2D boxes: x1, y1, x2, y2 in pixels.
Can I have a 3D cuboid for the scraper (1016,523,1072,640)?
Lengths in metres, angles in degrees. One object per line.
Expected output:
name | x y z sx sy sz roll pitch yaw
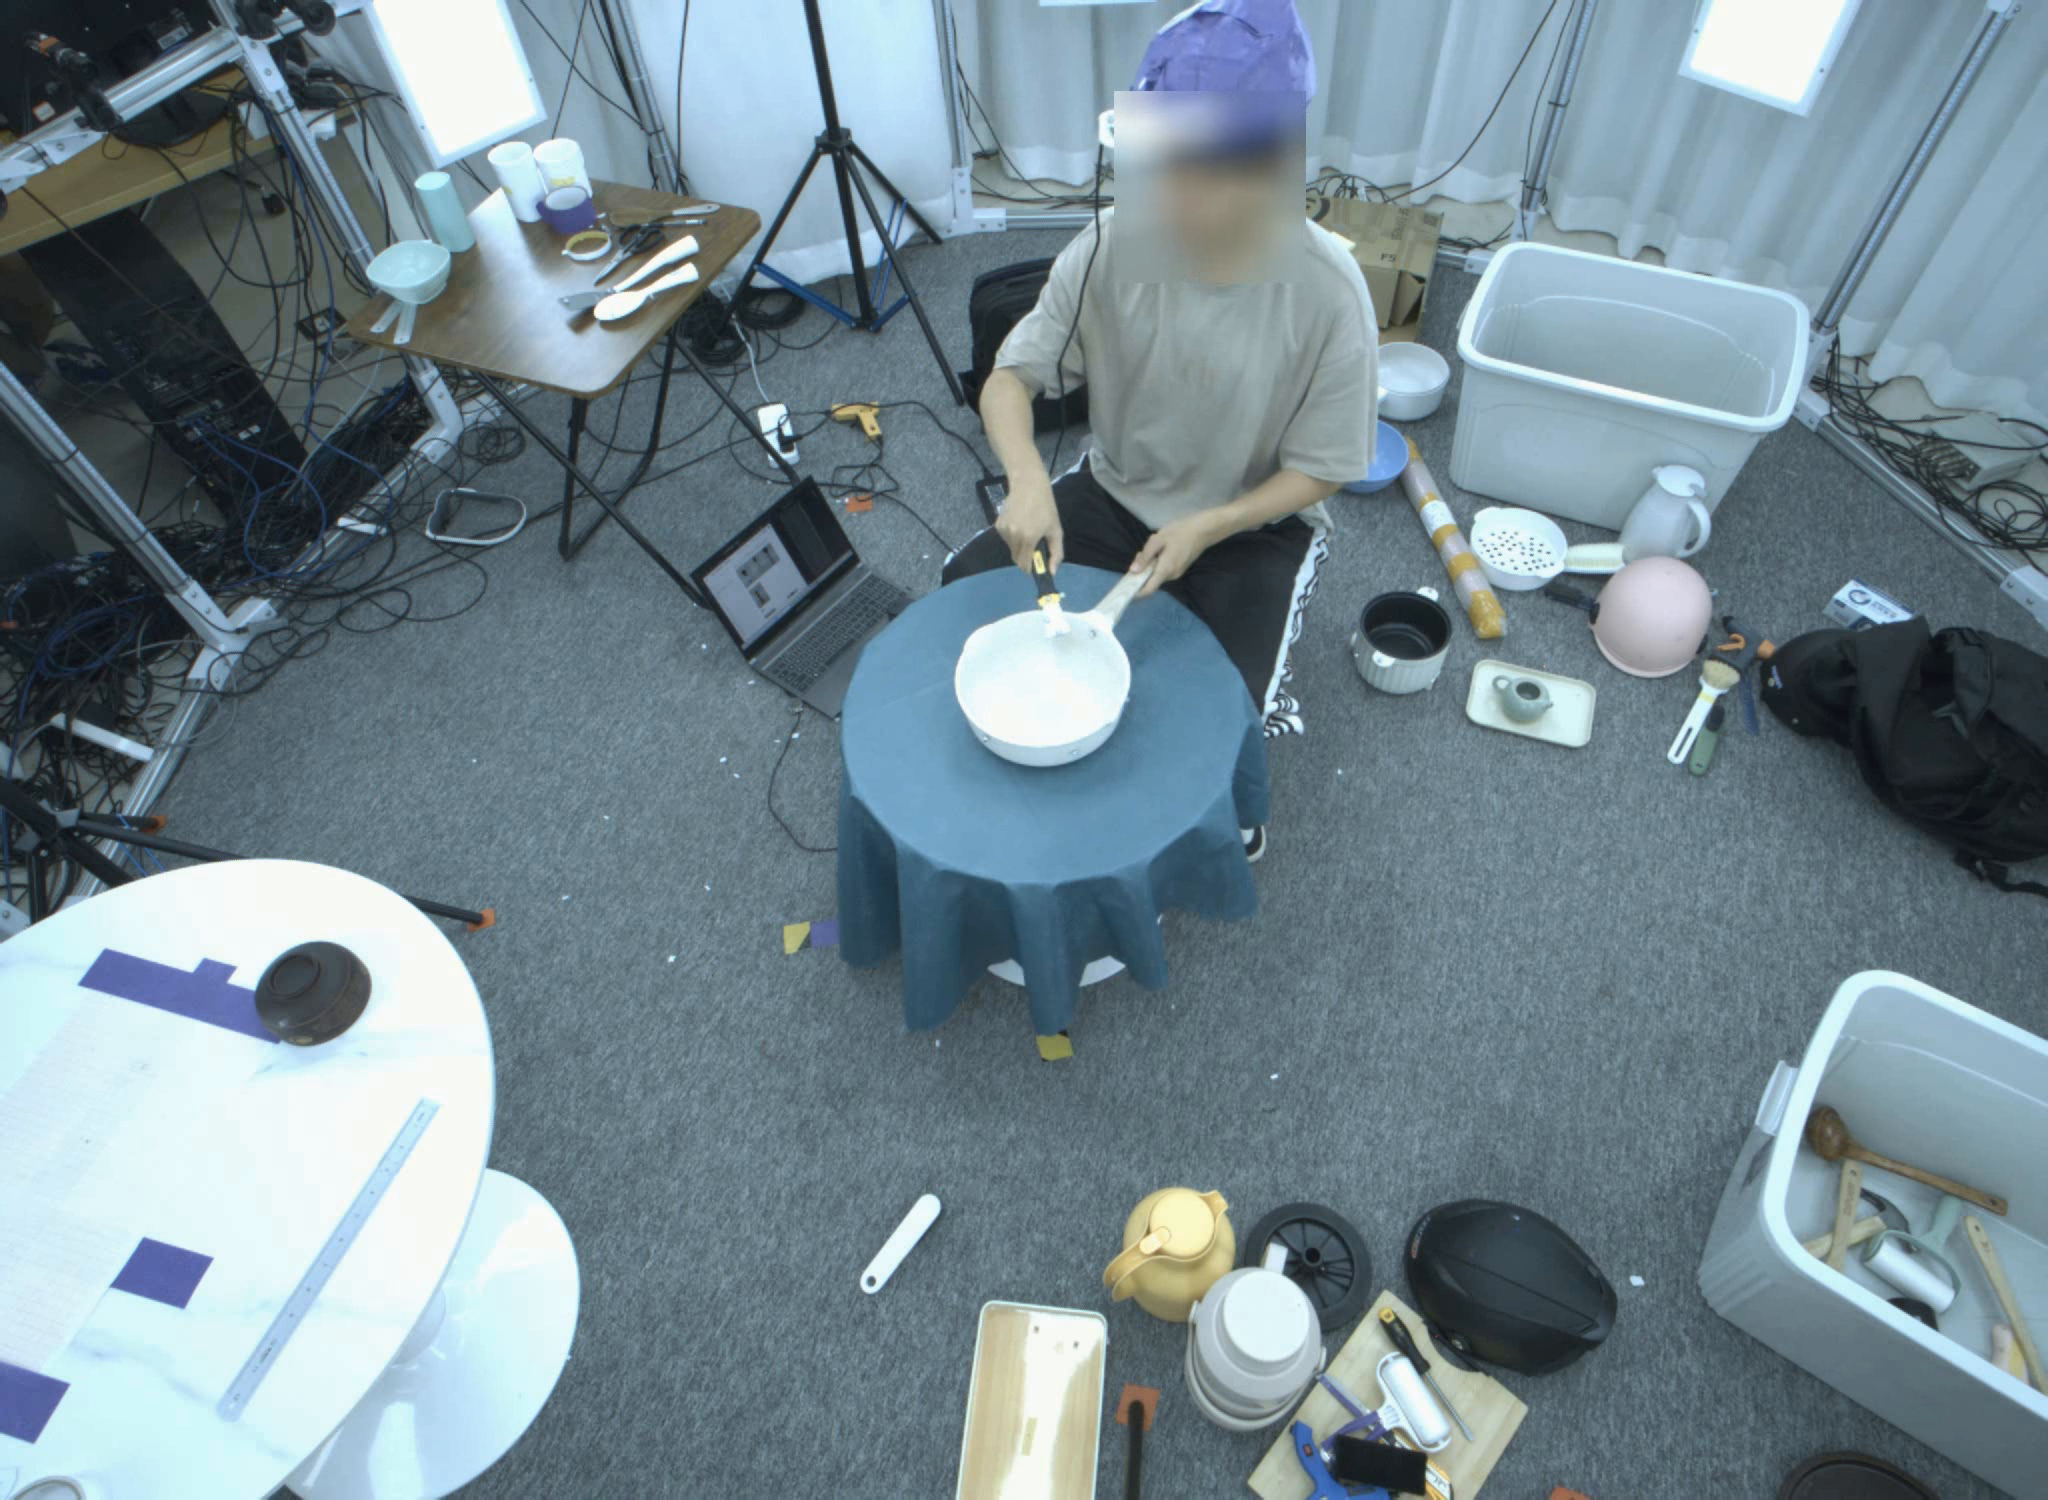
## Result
scraper | 0.025 -0.241 1.742 0.038 0.015 0.171 -18 94 12

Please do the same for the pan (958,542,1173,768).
pan | 0.091 -0.144 1.826 0.258 0.103 0.437 31 61 25
